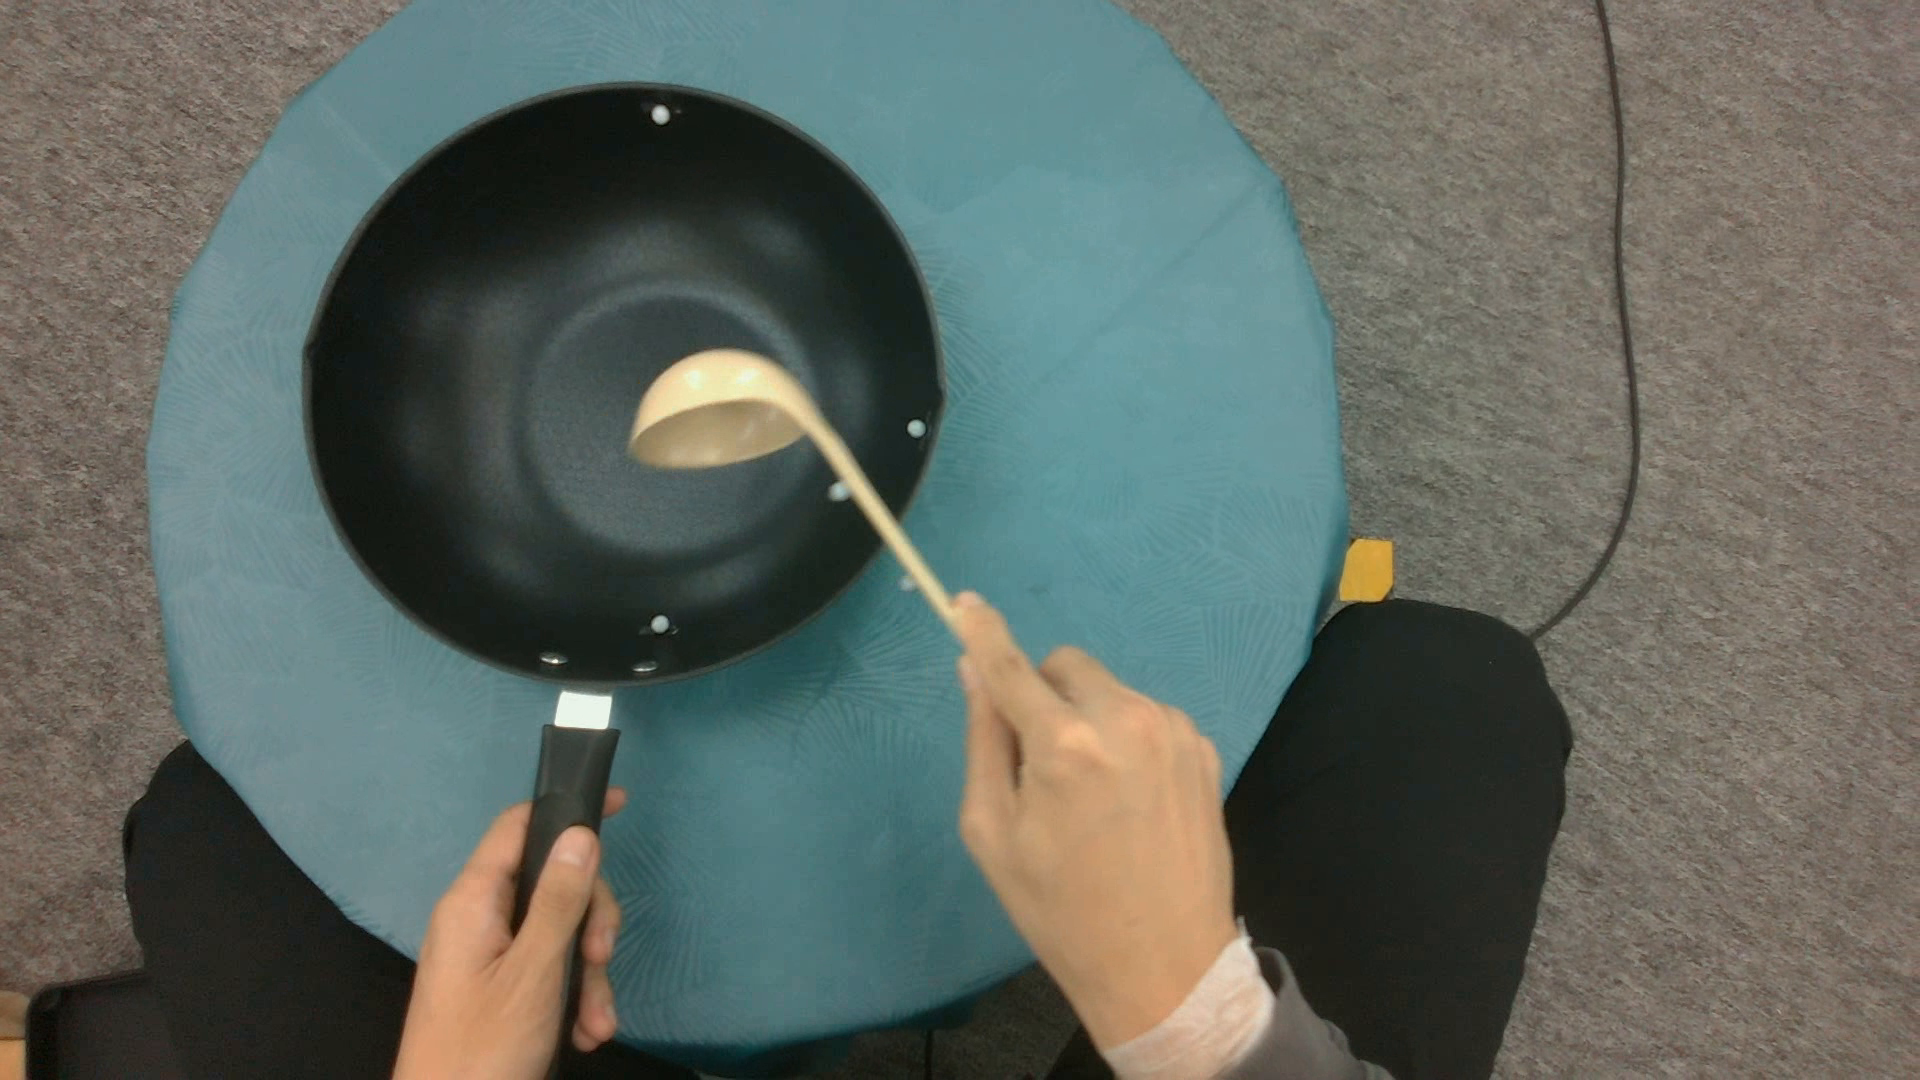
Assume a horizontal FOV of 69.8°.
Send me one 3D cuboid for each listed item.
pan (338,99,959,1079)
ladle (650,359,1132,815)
[{"bbox_3d":[-0.152,0.025,0.652,0.288,0.087,0.464,5,81,1],"label":"pan"},{"bbox_3d":[-0.037,0.028,0.541,0.073,0.072,0.255,-41,65,6],"label":"ladle"}]
